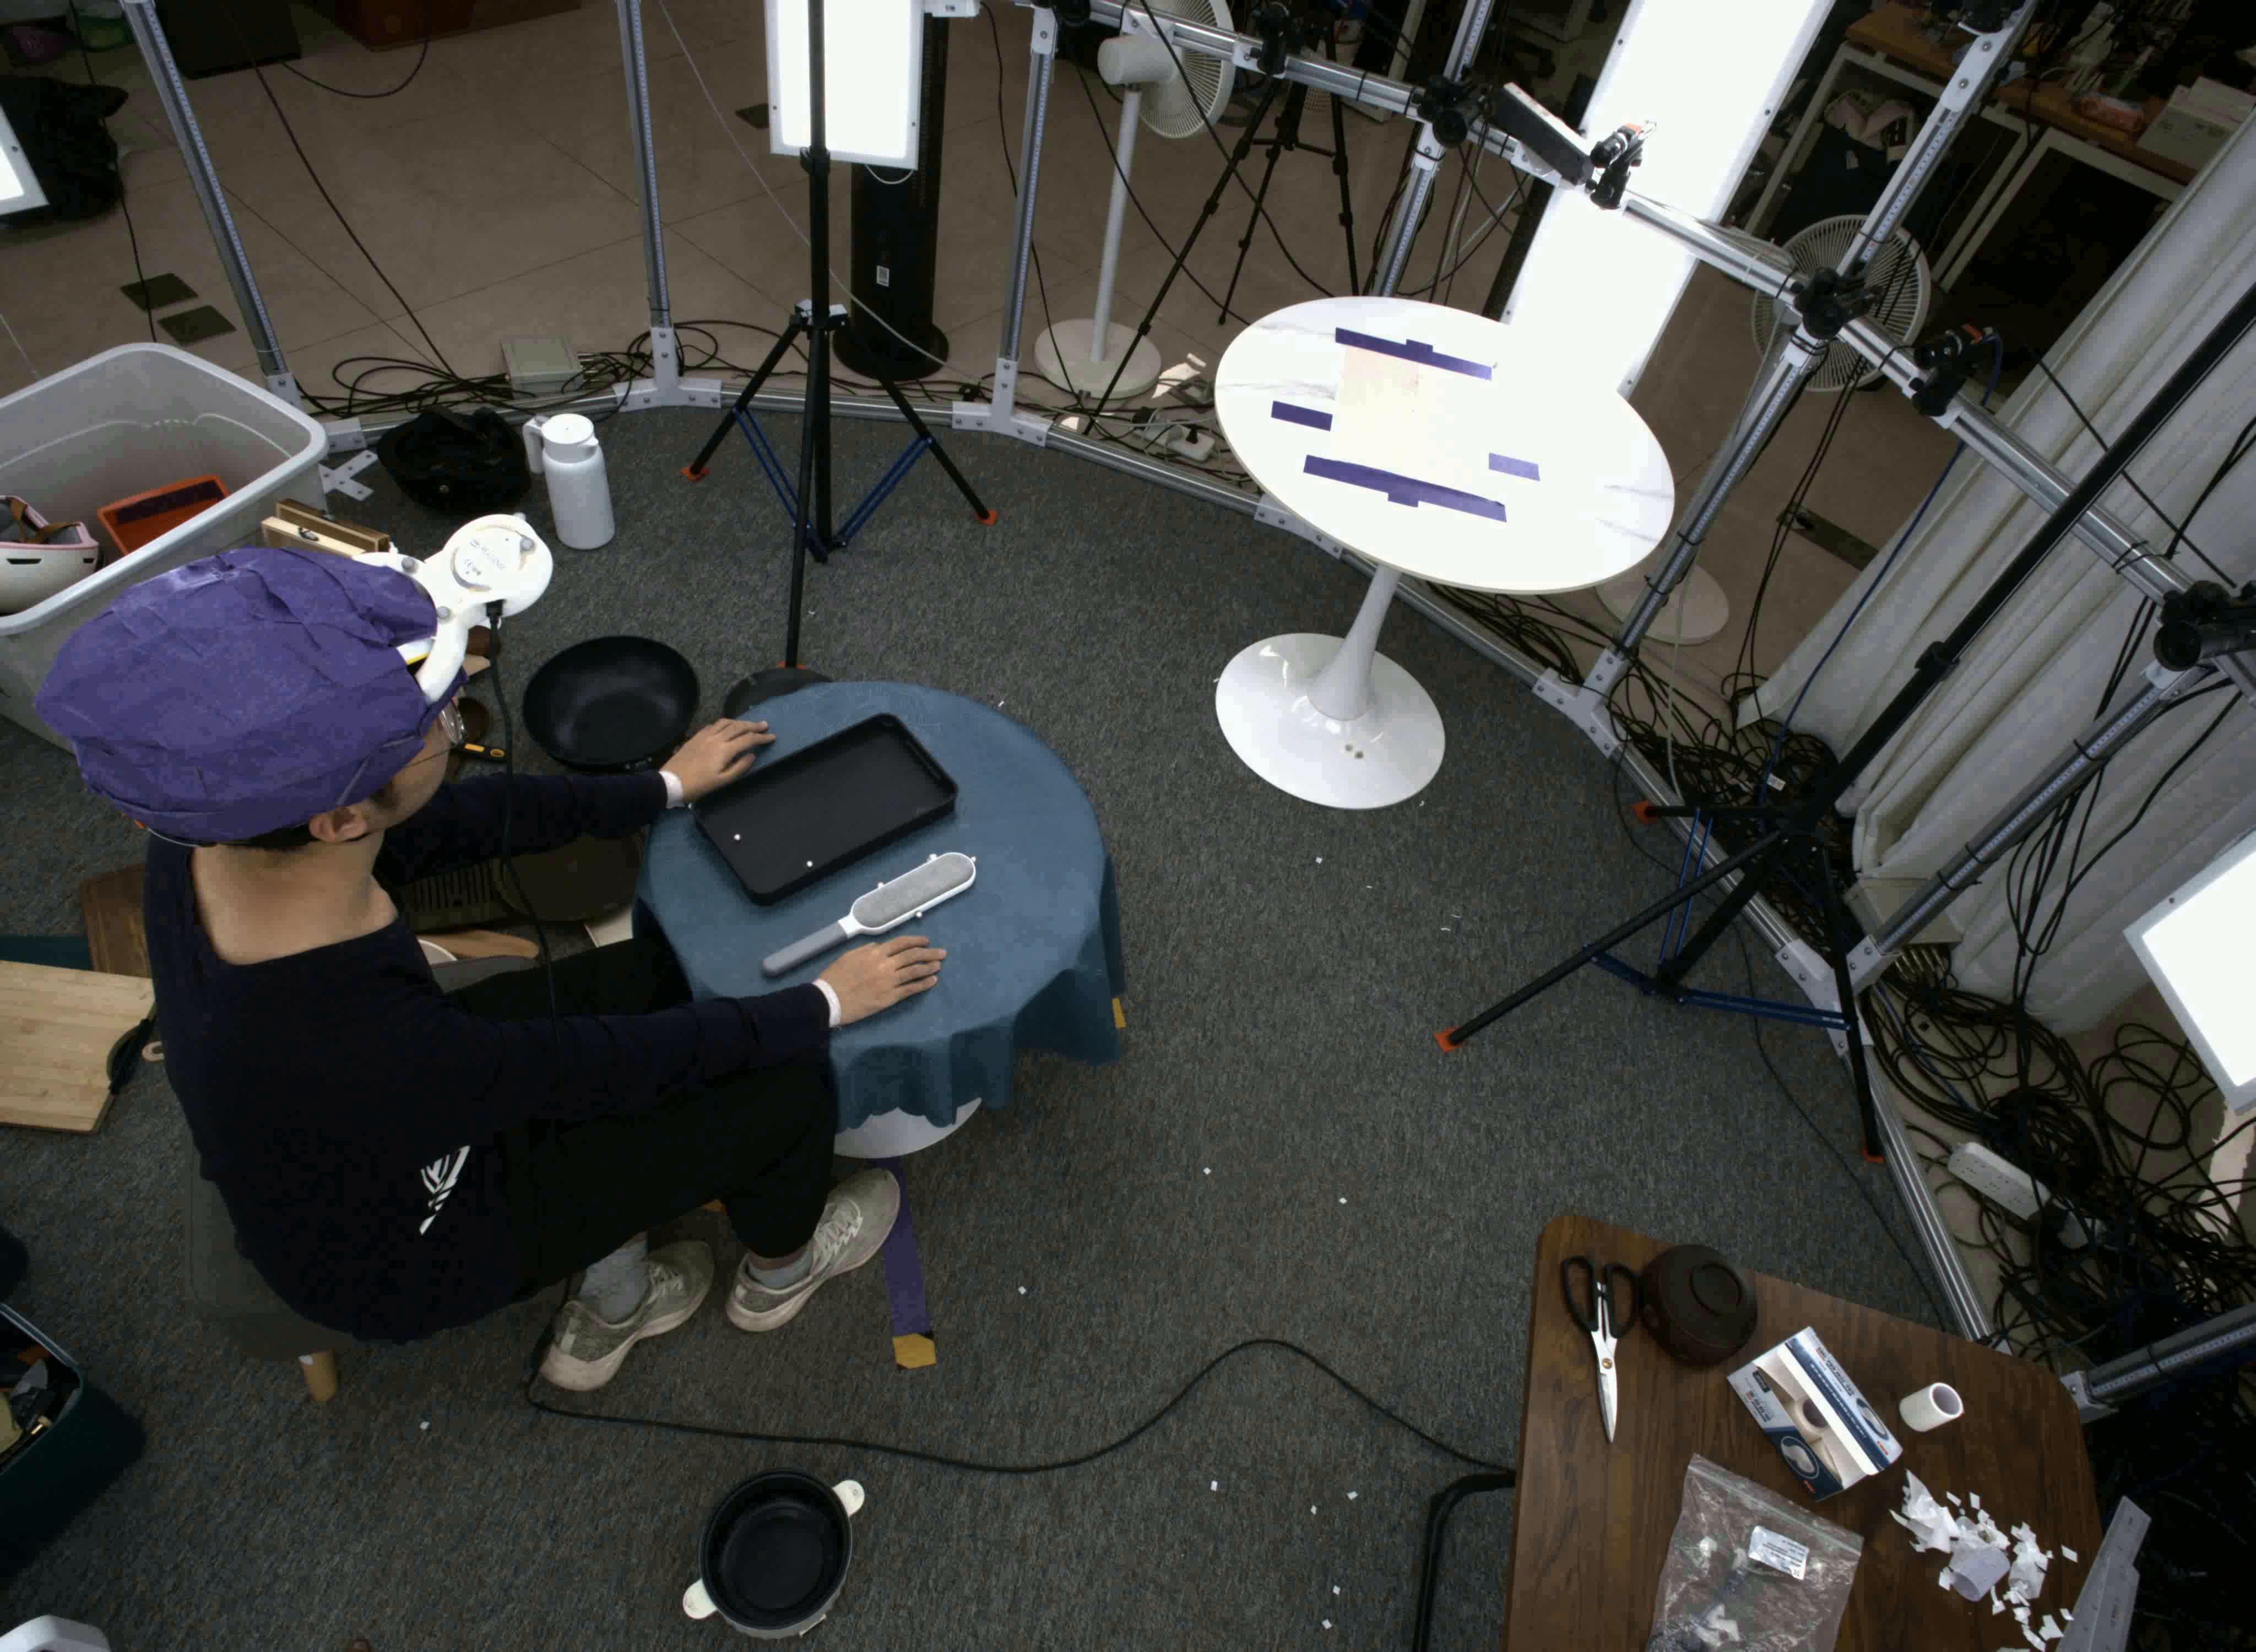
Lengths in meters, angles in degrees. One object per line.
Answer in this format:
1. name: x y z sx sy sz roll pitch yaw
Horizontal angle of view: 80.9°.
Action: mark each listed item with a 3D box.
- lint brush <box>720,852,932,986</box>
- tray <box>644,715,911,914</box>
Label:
1. lint brush: -0.379 0.114 1.644 0.310 0.021 0.059 -31 72 -31
2. tray: -0.461 -0.022 1.720 0.319 0.038 0.180 -31 66 -31
